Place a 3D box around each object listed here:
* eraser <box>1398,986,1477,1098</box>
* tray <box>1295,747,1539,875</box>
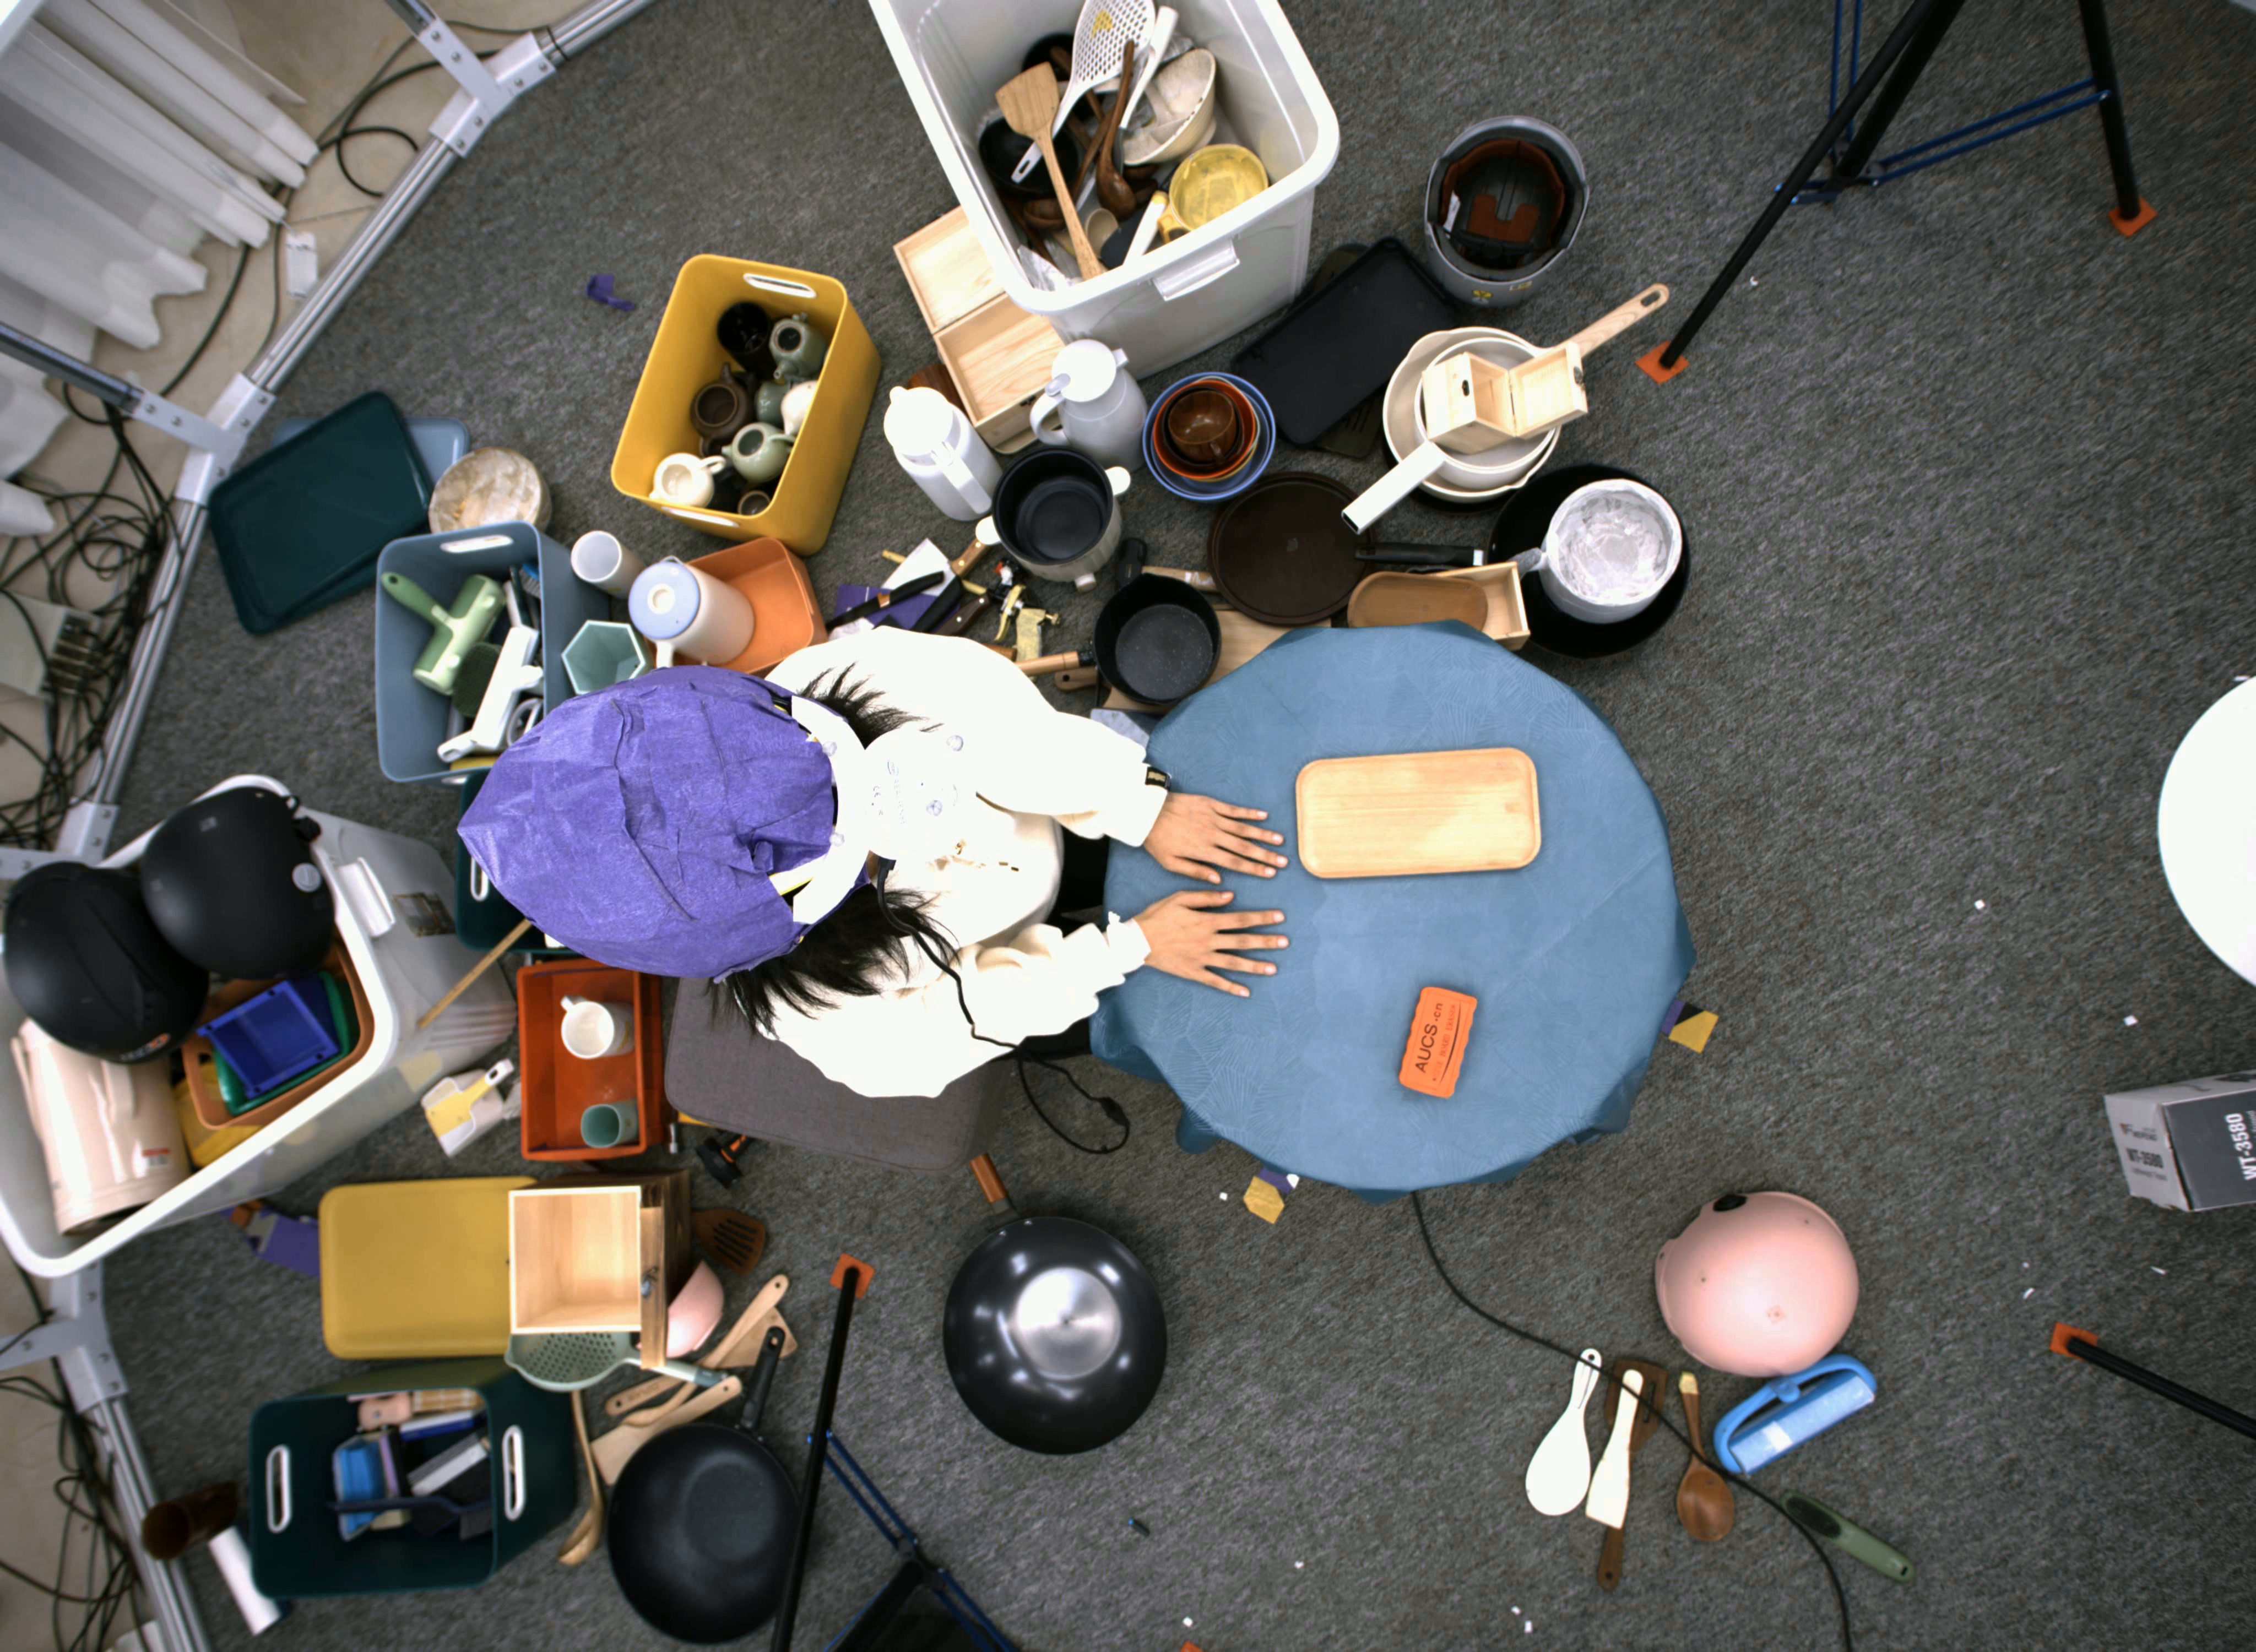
[{"bbox_3d":[0.321,0.221,1.431,0.059,0.023,0.108,16,89,10],"label":"eraser"},{"bbox_3d":[0.302,-0.016,1.450,0.252,0.023,0.129,-2,84,11],"label":"tray"}]
